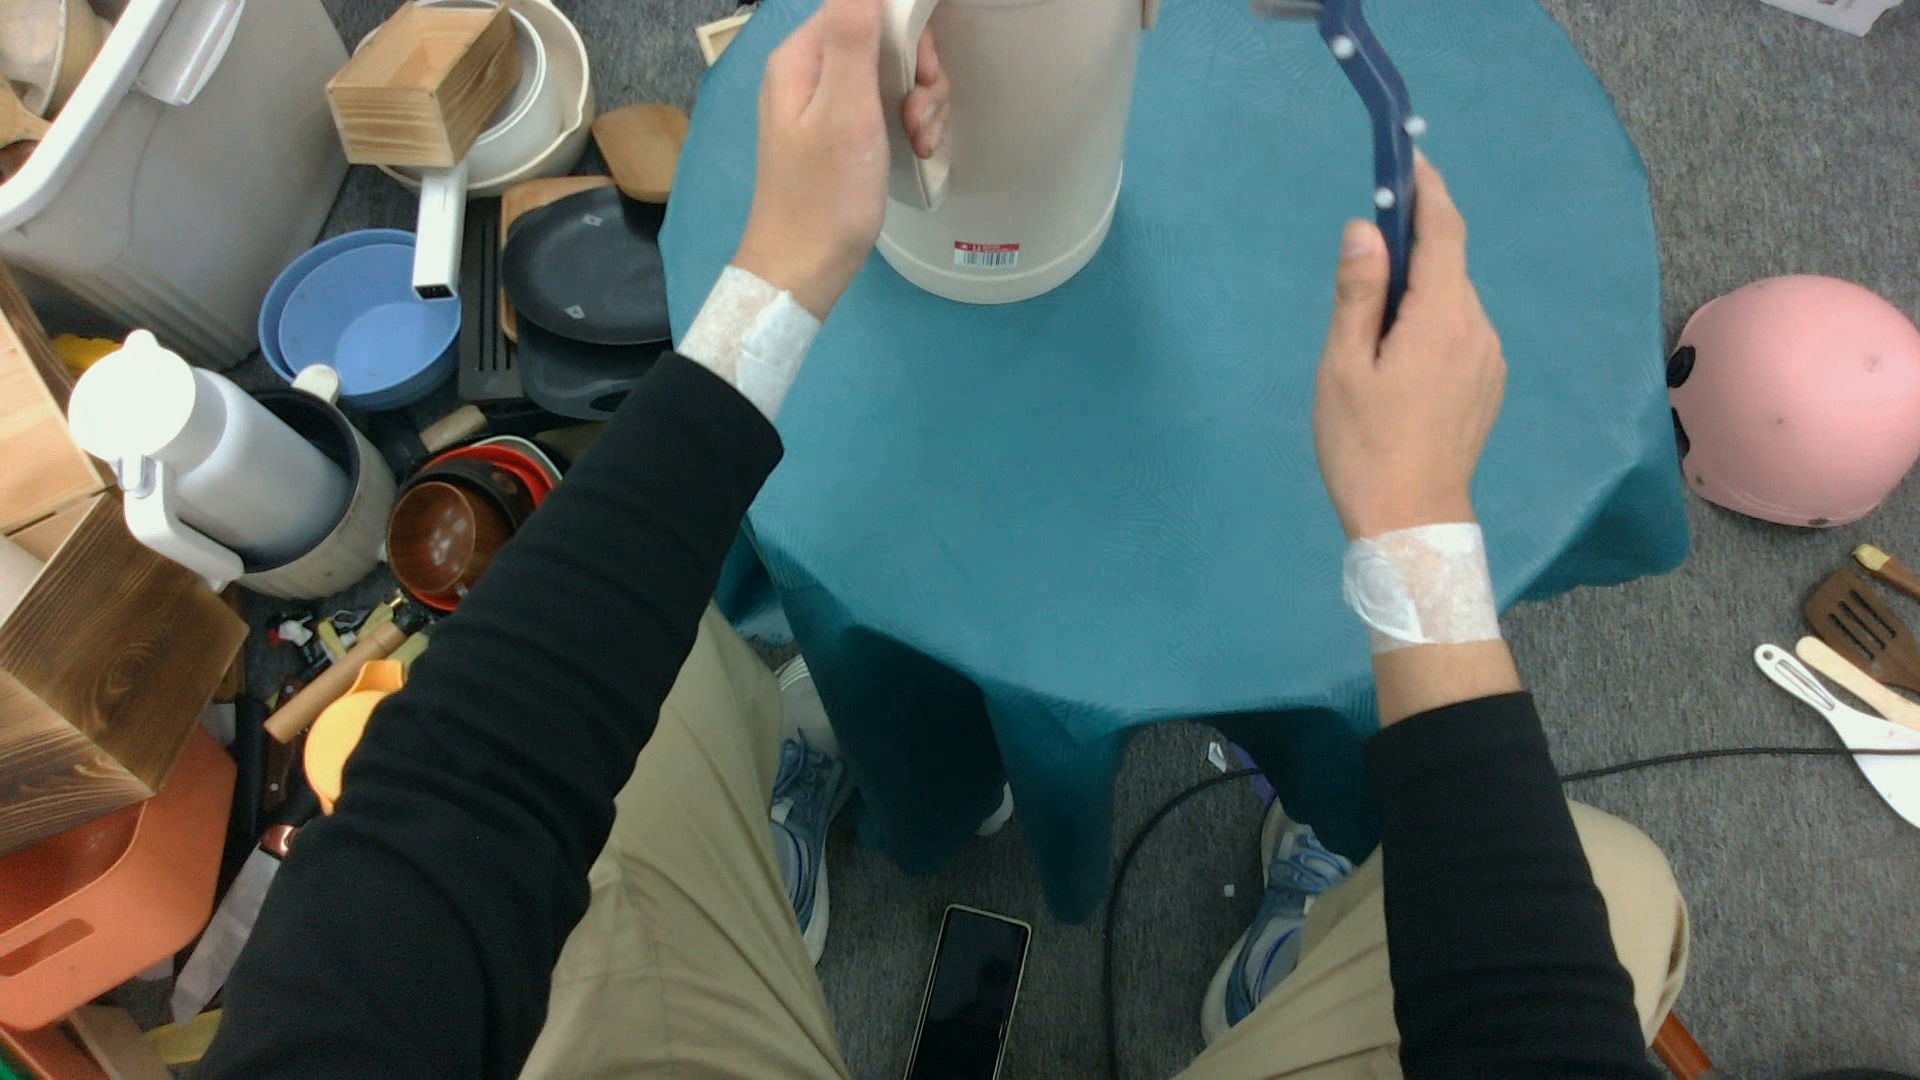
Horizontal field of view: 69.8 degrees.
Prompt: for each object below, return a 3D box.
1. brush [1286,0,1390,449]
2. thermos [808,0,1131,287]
[{"bbox_3d":[0.177,-0.171,0.579,0.095,0.272,0.034,-4,24,35],"label":"brush"},{"bbox_3d":[-0.005,-0.271,0.652,0.175,0.405,0.207,22,73,5],"label":"thermos"}]
